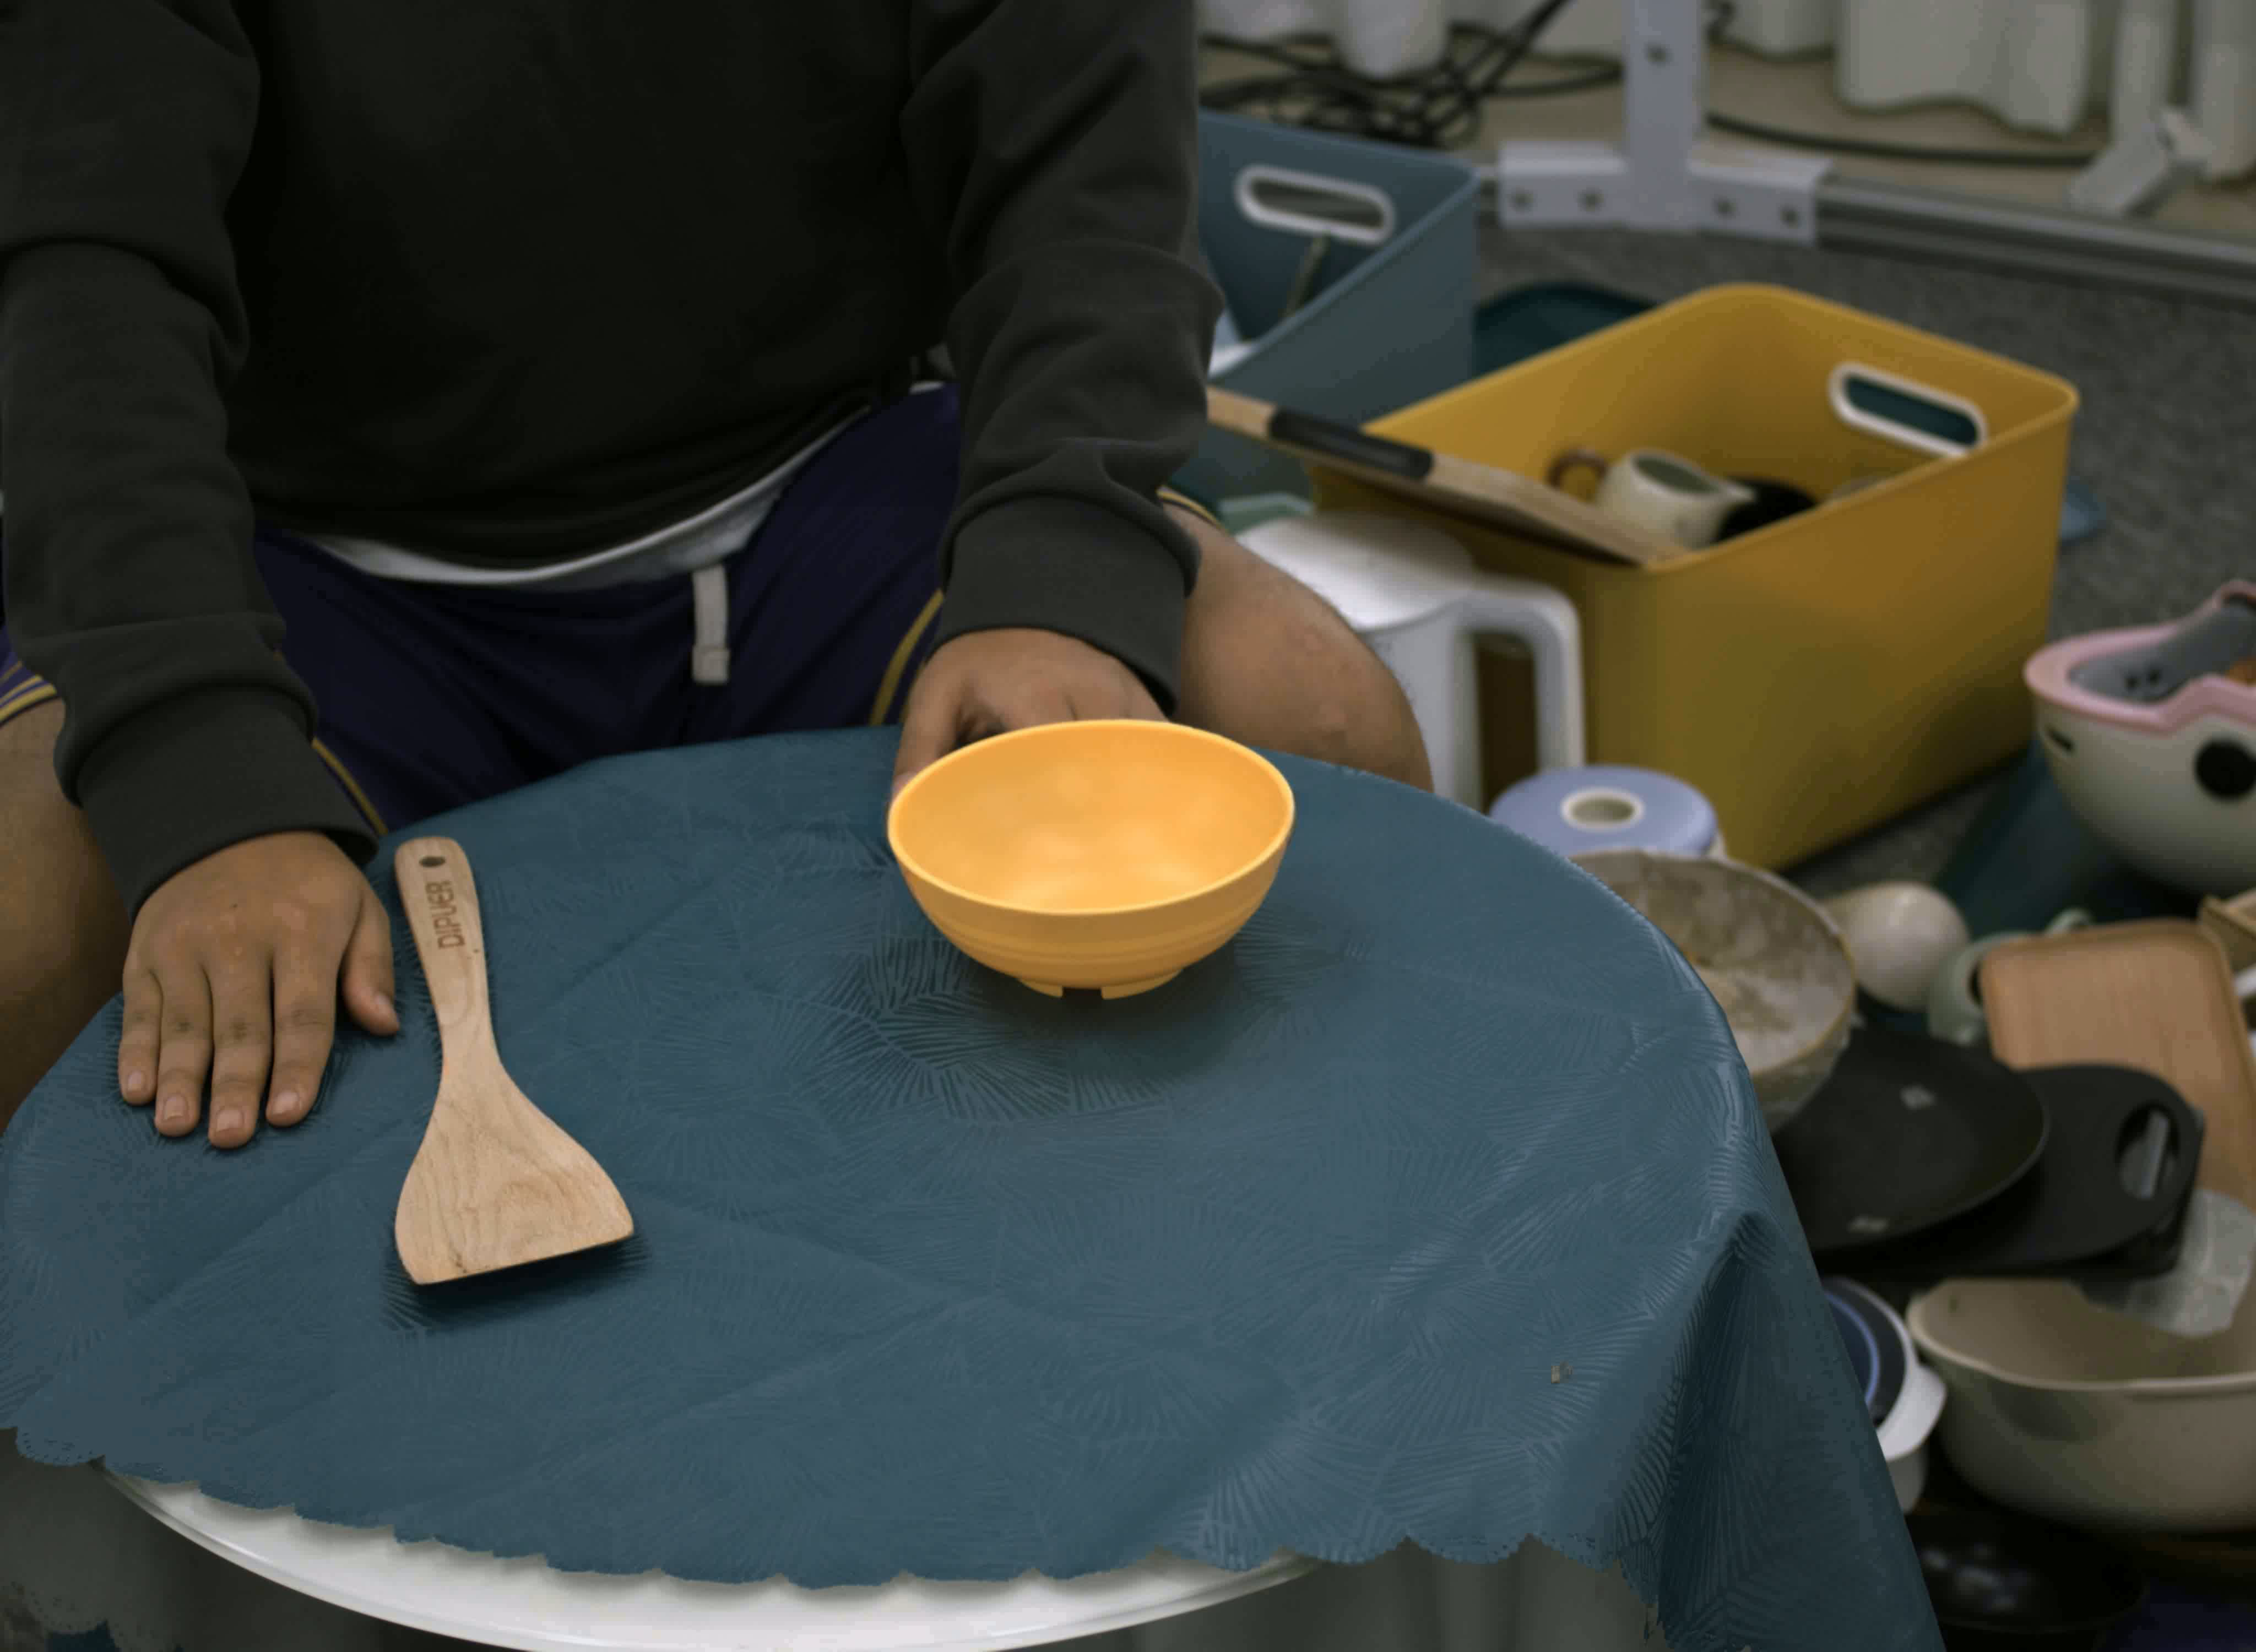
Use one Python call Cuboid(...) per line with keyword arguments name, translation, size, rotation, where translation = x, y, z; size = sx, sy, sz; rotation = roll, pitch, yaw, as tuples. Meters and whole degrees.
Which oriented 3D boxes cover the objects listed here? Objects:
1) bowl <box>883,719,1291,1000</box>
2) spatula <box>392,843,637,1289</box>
Cuboid(name="bowl", translation=(-0.014, 0.021, 1.996), size=(0.144, 0.059, 0.147), rotation=(0, 27, 1))
Cuboid(name="spatula", translation=(-0.228, 0.078, 1.953), size=(0.080, 0.016, 0.331), rotation=(-8, 28, -9))
